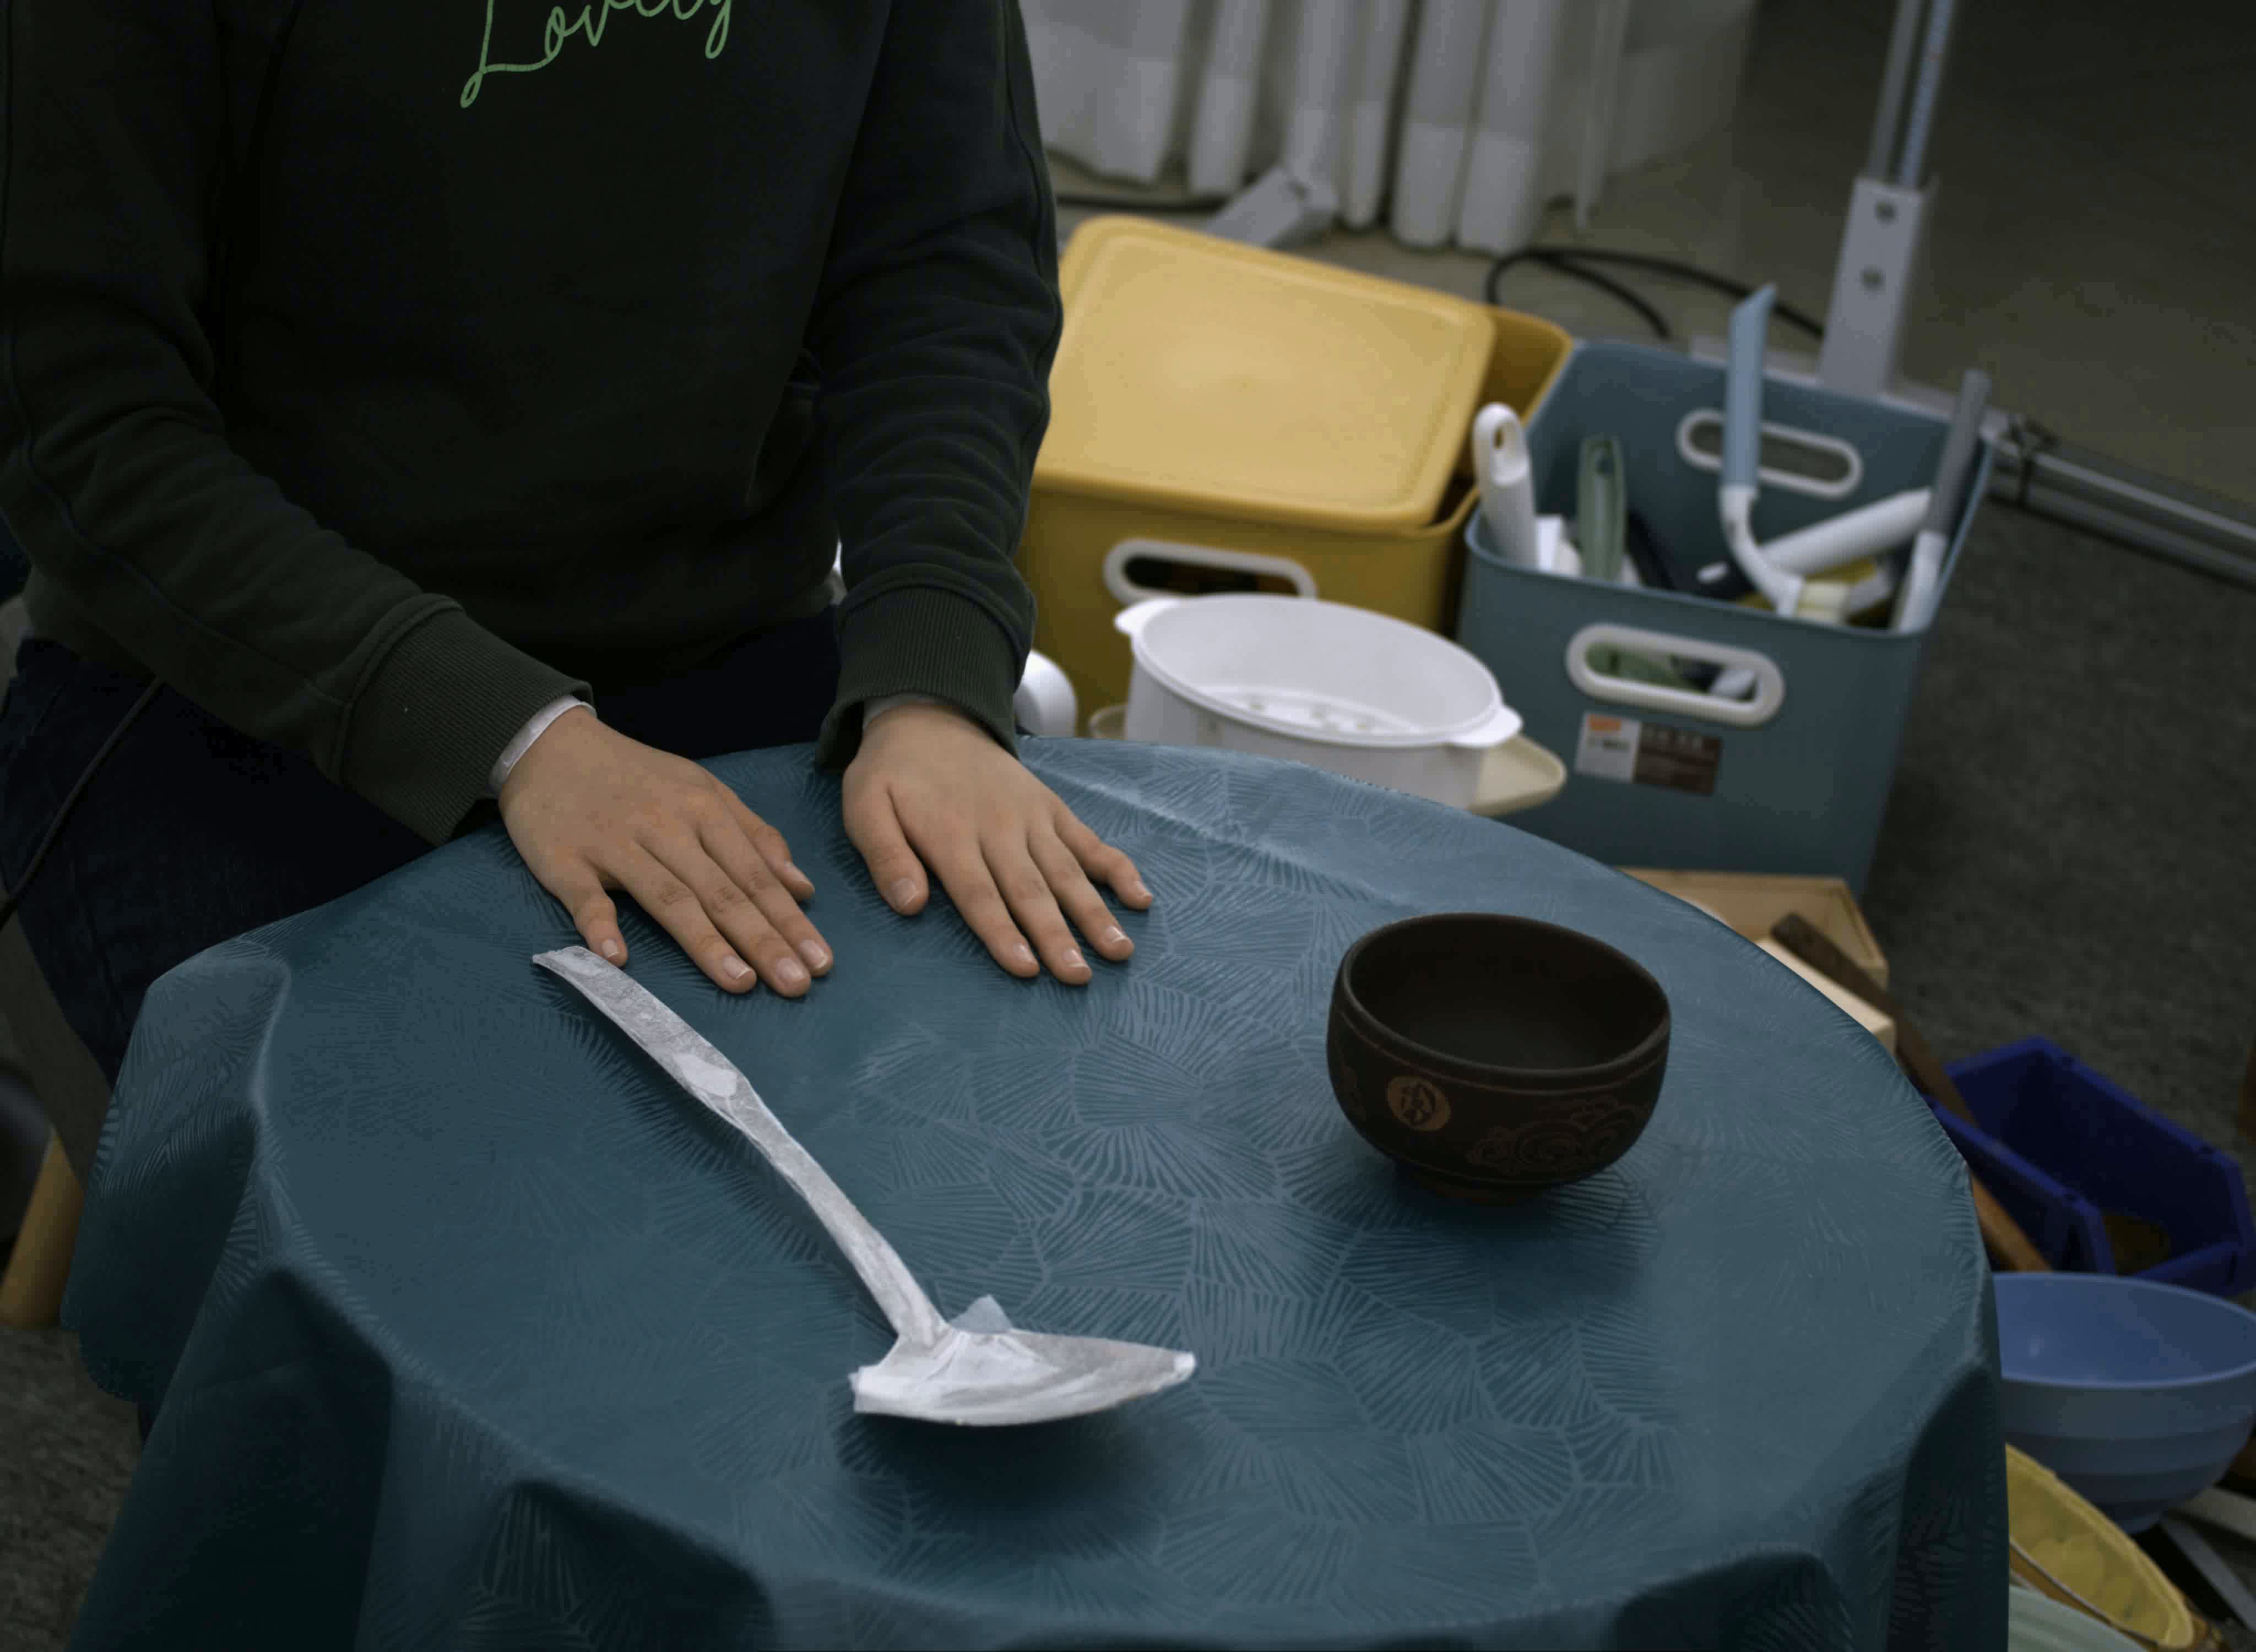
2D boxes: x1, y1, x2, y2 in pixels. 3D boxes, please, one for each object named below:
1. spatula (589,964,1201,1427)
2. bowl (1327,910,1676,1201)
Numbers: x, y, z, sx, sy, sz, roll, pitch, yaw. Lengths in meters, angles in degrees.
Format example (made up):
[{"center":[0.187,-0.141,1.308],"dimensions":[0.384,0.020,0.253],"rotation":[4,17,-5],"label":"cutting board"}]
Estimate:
[{"center":[-0.101,0.113,1.755],"dimensions":[0.098,0.044,0.368],"rotation":[-11,32,-28],"label":"spatula"},{"center":[0.125,0.085,1.825],"dimensions":[0.117,0.069,0.119],"rotation":[6,25,-3],"label":"bowl"}]
